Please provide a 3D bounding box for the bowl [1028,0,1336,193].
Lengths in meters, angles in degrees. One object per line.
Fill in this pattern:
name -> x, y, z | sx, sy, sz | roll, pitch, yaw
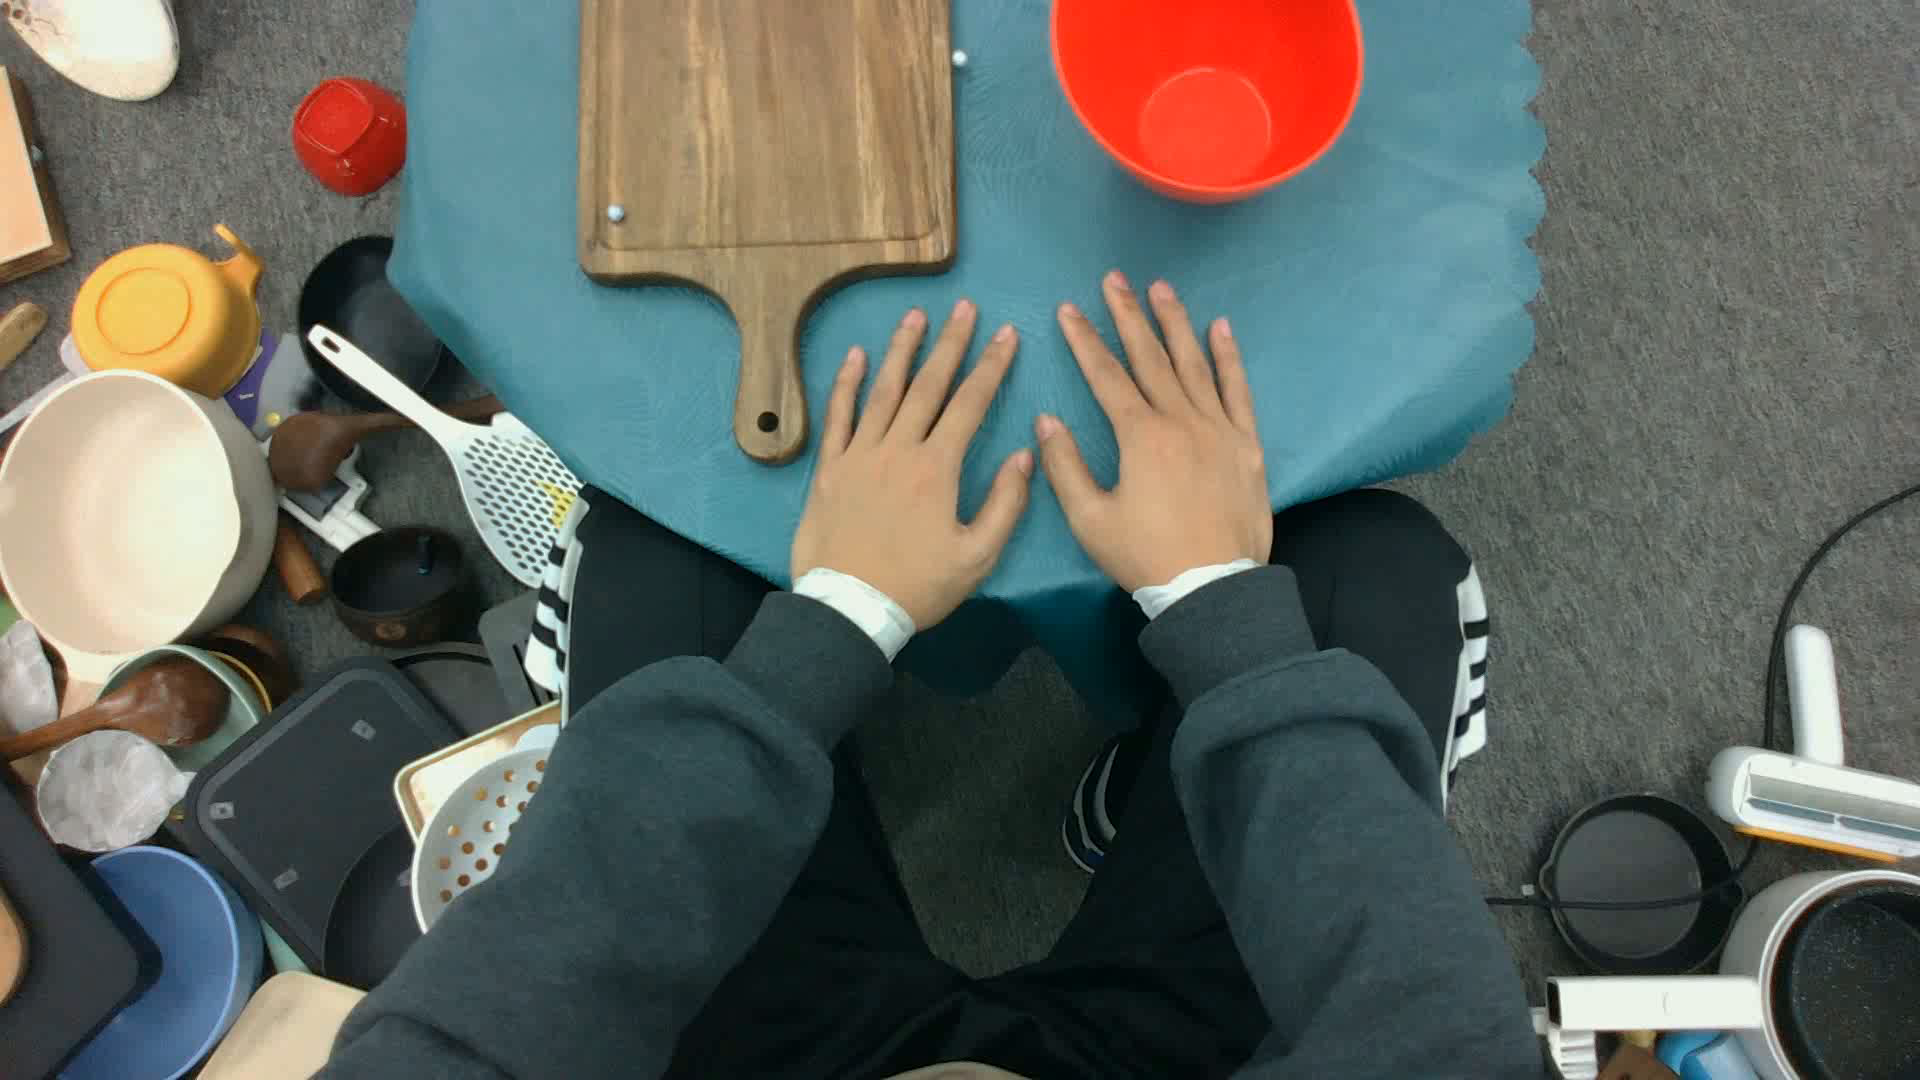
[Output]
bowl -> 0.106, -0.232, 0.685 | 0.148, 0.104, 0.148 | 0, 80, 1

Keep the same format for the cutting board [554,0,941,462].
cutting board -> -0.113, -0.214, 0.726 | 0.201, 0.023, 0.352 | -3, 80, 1
